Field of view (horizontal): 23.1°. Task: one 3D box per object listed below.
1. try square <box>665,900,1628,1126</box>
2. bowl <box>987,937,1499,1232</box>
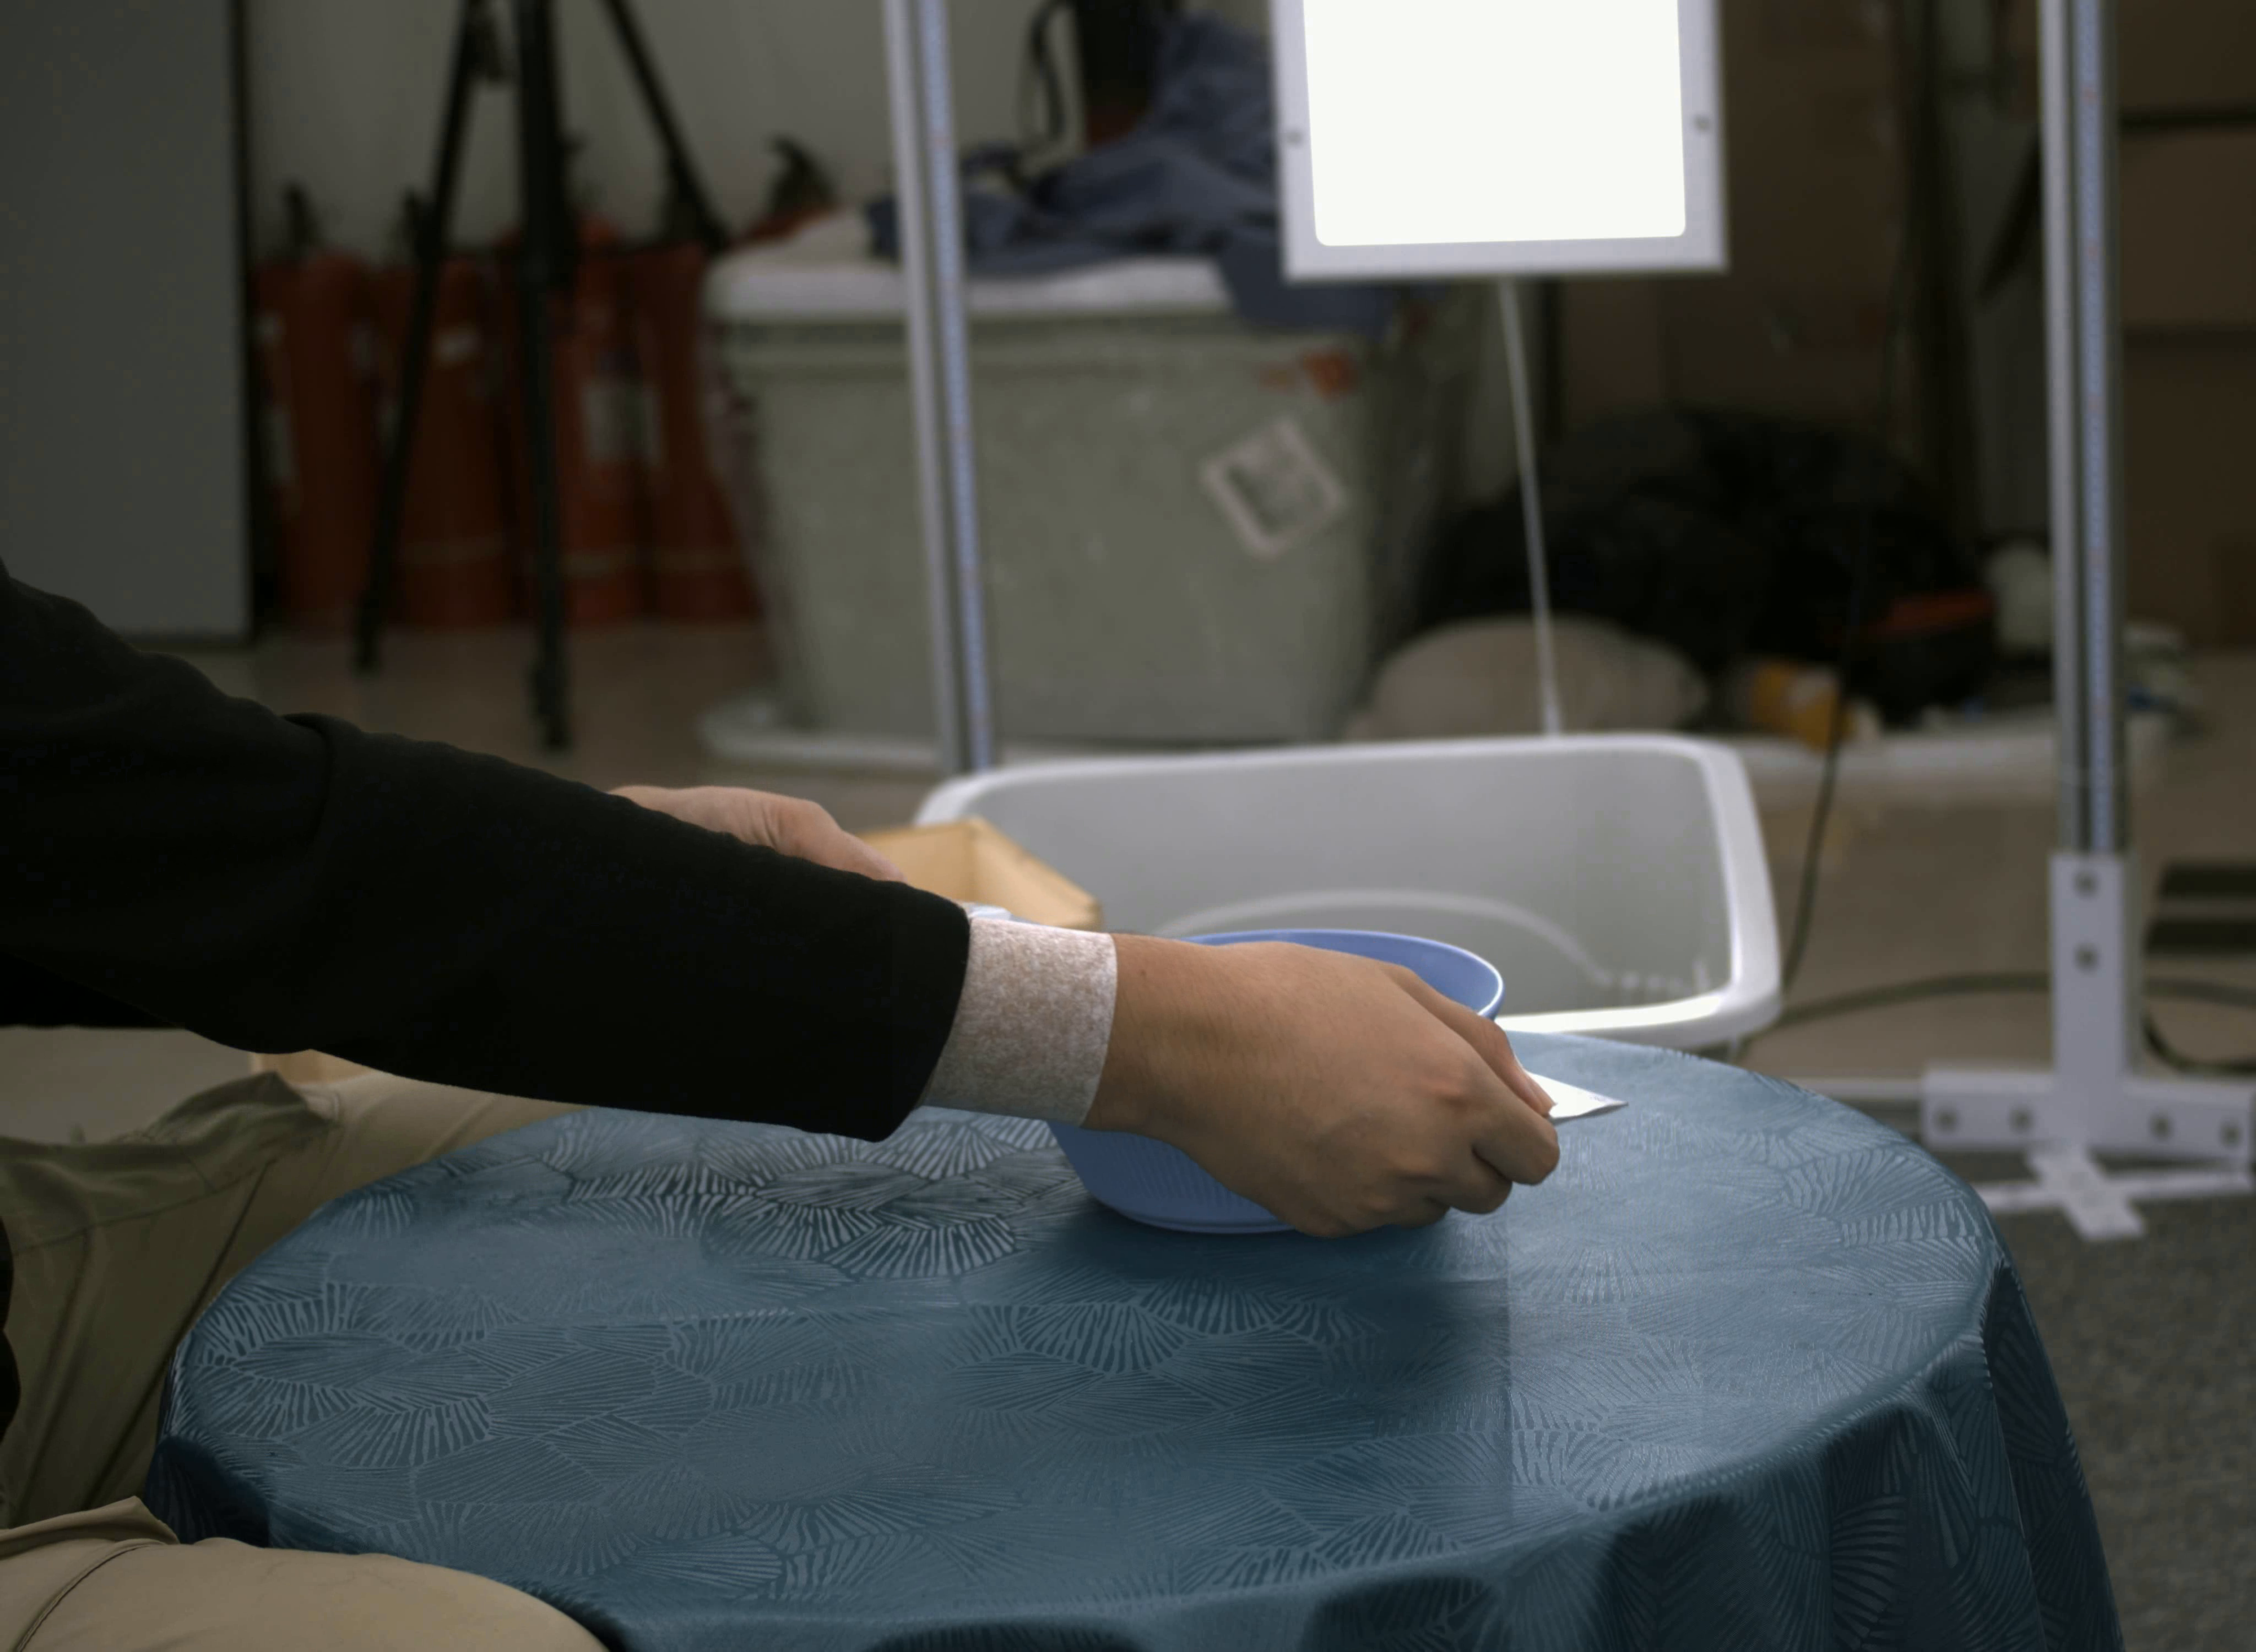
[{"bbox_3d":[0.000,0.070,1.794,0.148,0.016,0.319,-13,18,-37],"label":"try square"},{"bbox_3d":[0.041,0.090,1.884,0.175,0.070,0.176,-5,14,0],"label":"bowl"}]
